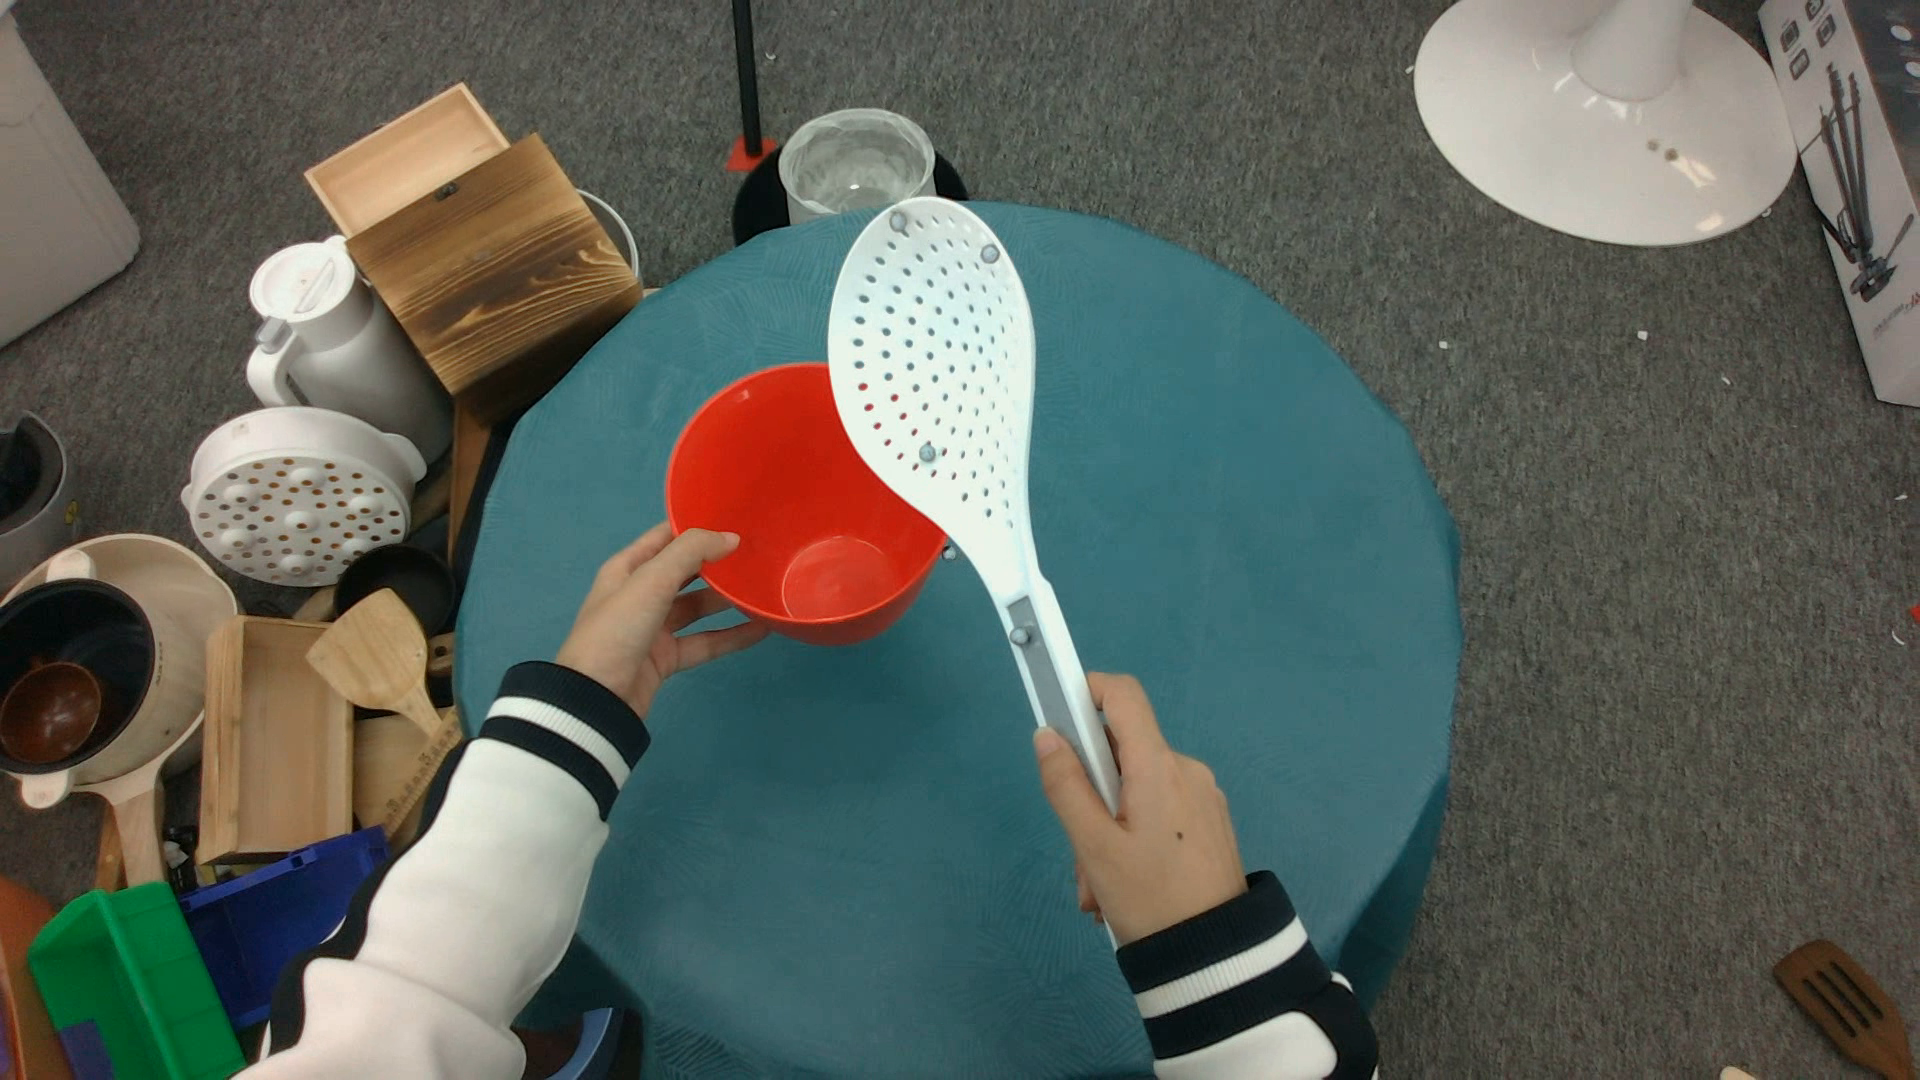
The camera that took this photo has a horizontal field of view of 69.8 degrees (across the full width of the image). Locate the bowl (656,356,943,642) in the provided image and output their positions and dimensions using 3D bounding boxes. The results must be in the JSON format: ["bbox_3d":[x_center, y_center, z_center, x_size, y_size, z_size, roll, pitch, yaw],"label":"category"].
[{"bbox_3d":[-0.081,-0.009,0.736,0.148,0.104,0.148,1,57,-1],"label":"bowl"}]

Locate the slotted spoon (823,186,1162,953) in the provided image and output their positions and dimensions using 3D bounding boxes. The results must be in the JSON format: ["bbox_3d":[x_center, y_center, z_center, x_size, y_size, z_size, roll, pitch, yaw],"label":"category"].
[{"bbox_3d":[0.019,0.007,0.610,0.046,0.135,0.350,-1,69,-42],"label":"slotted spoon"}]
